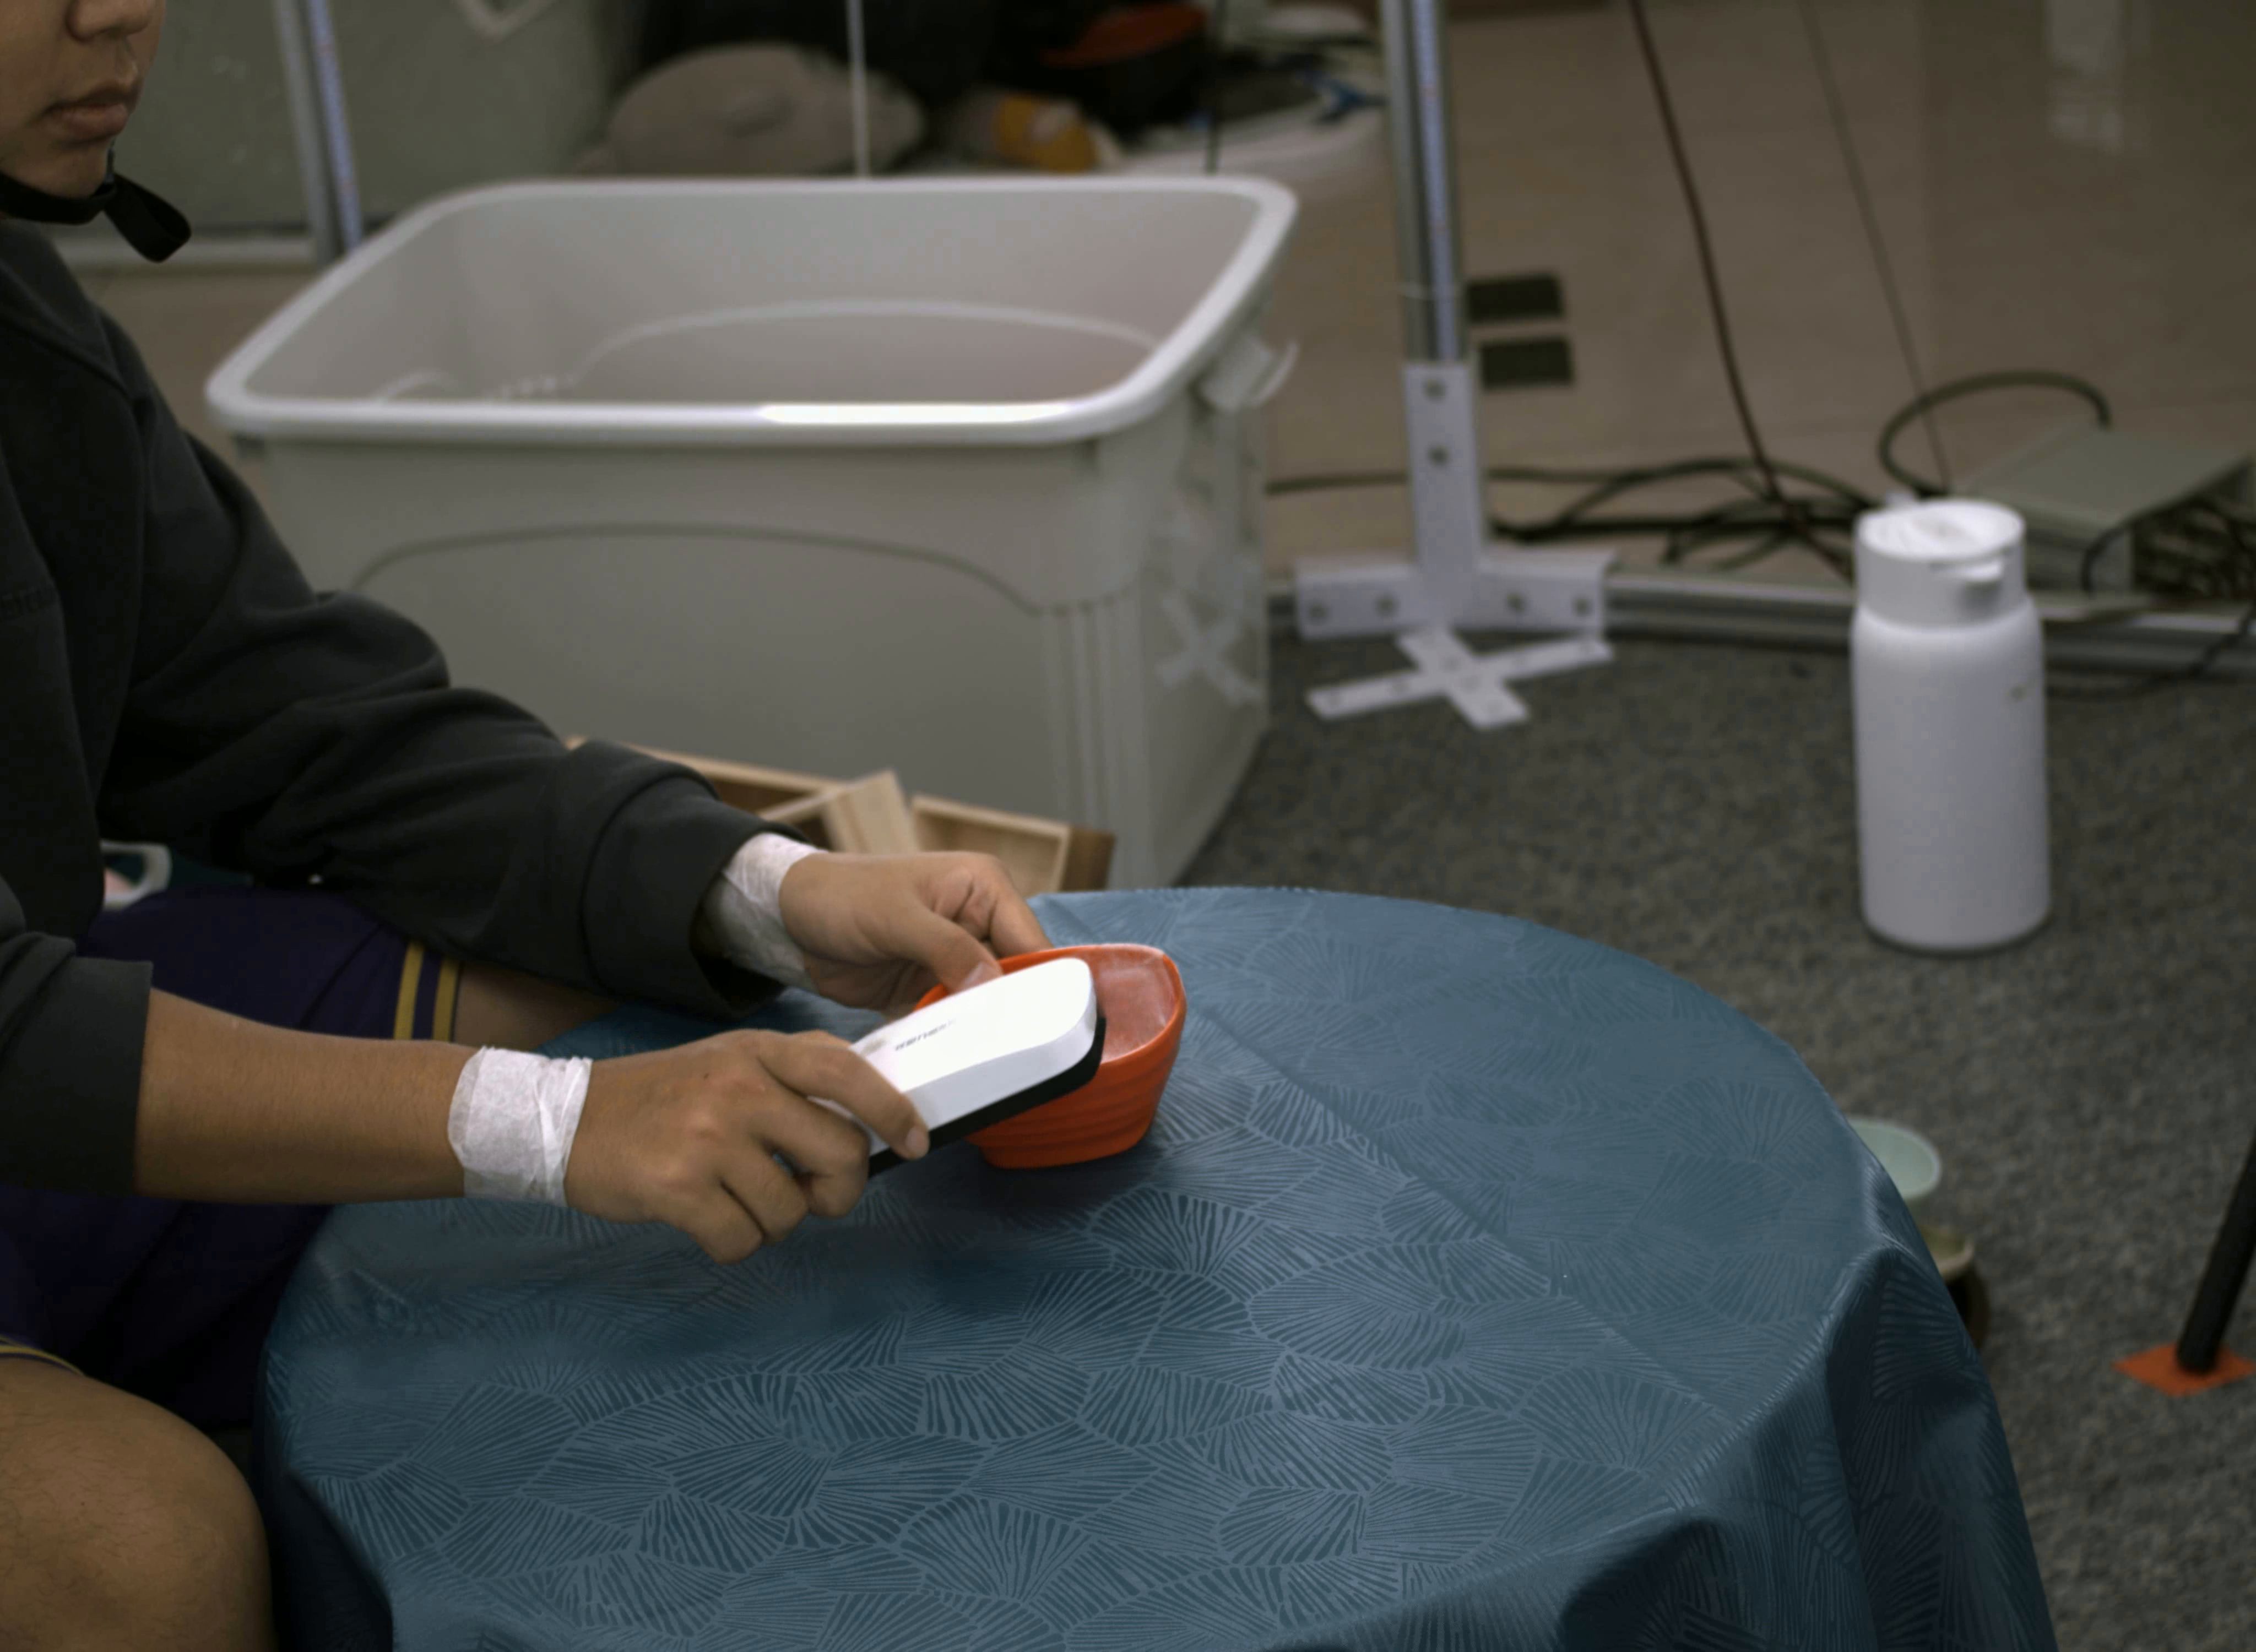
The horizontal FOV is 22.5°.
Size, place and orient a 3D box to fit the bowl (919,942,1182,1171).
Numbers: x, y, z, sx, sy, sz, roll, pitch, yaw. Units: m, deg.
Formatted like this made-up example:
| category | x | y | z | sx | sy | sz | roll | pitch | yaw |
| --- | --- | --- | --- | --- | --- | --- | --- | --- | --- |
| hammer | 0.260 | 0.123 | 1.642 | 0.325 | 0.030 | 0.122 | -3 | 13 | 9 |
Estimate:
| category | x | y | z | sx | sy | sz | roll | pitch | yaw |
| --- | --- | --- | --- | --- | --- | --- | --- | --- | --- |
| bowl | -0.029 | 0.094 | 2.185 | 0.119 | 0.052 | 0.117 | -11 | 25 | 5 |

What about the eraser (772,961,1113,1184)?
| category | x | y | z | sx | sy | sz | roll | pitch | yaw |
| --- | --- | --- | --- | --- | --- | --- | --- | --- | --- |
| eraser | -0.069 | 0.089 | 2.102 | 0.131 | 0.035 | 0.062 | -21 | 23 | 19 |
